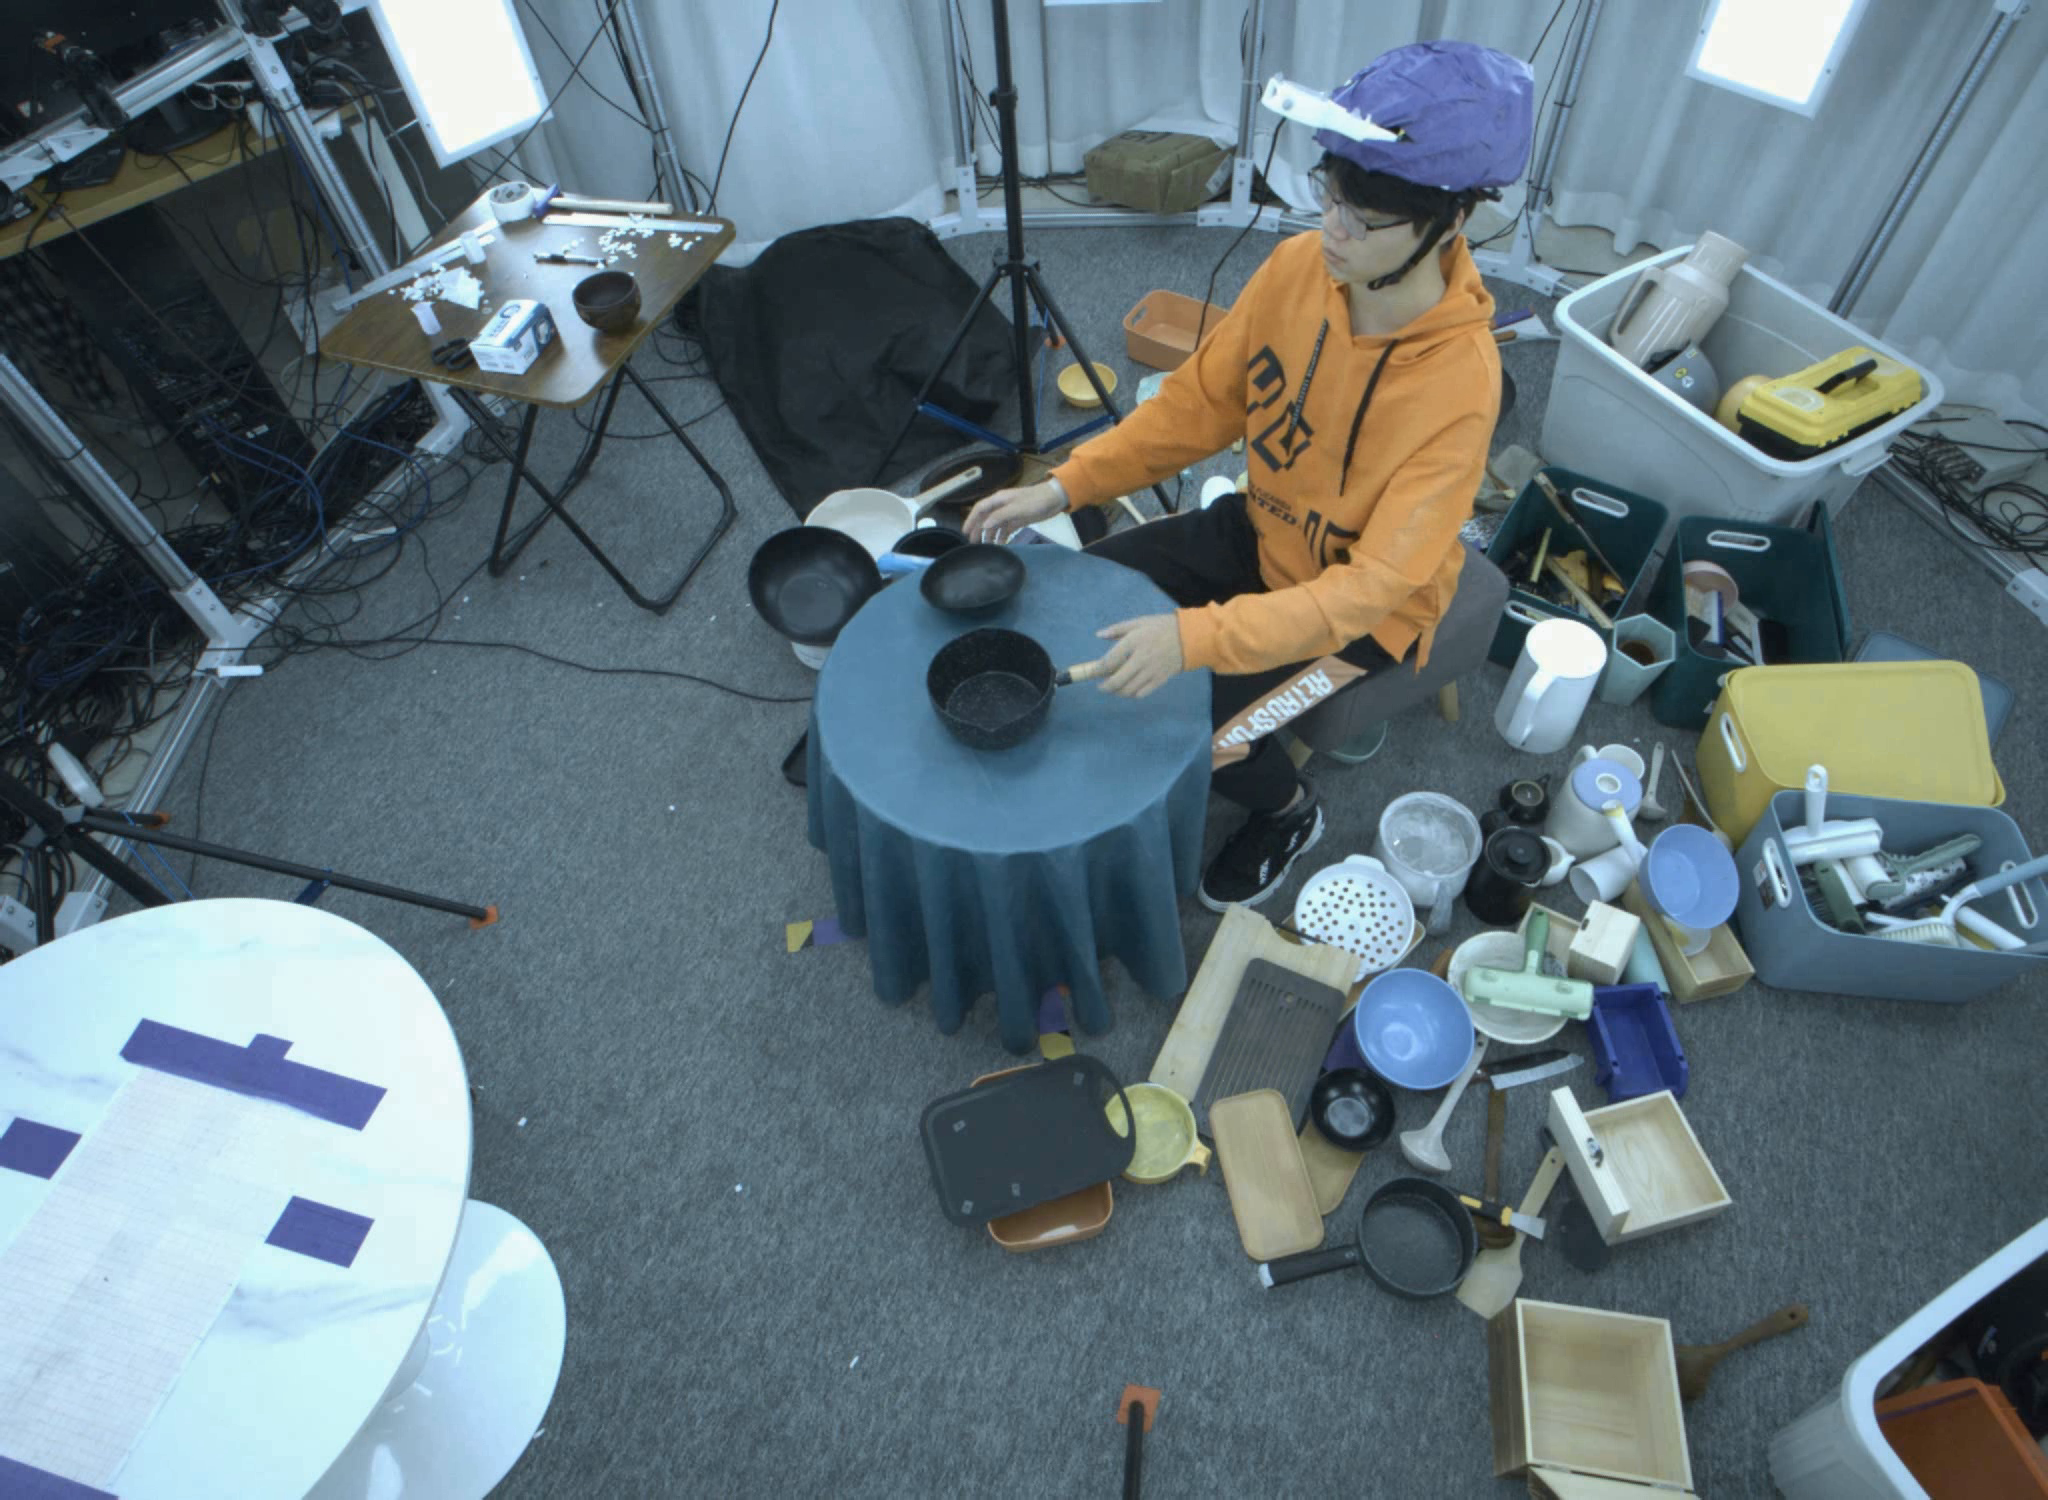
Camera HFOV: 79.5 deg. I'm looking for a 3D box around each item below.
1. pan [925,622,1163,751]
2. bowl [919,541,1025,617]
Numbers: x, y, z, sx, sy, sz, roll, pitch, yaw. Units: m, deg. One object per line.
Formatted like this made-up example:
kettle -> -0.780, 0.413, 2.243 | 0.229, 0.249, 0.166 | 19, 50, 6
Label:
pan -> 0.031, -0.098, 1.788 | 0.343, 0.109, 0.205 | -6, 53, 0
bowl -> -0.080, -0.256, 1.932 | 0.171, 0.067, 0.135 | -12, 55, -3
